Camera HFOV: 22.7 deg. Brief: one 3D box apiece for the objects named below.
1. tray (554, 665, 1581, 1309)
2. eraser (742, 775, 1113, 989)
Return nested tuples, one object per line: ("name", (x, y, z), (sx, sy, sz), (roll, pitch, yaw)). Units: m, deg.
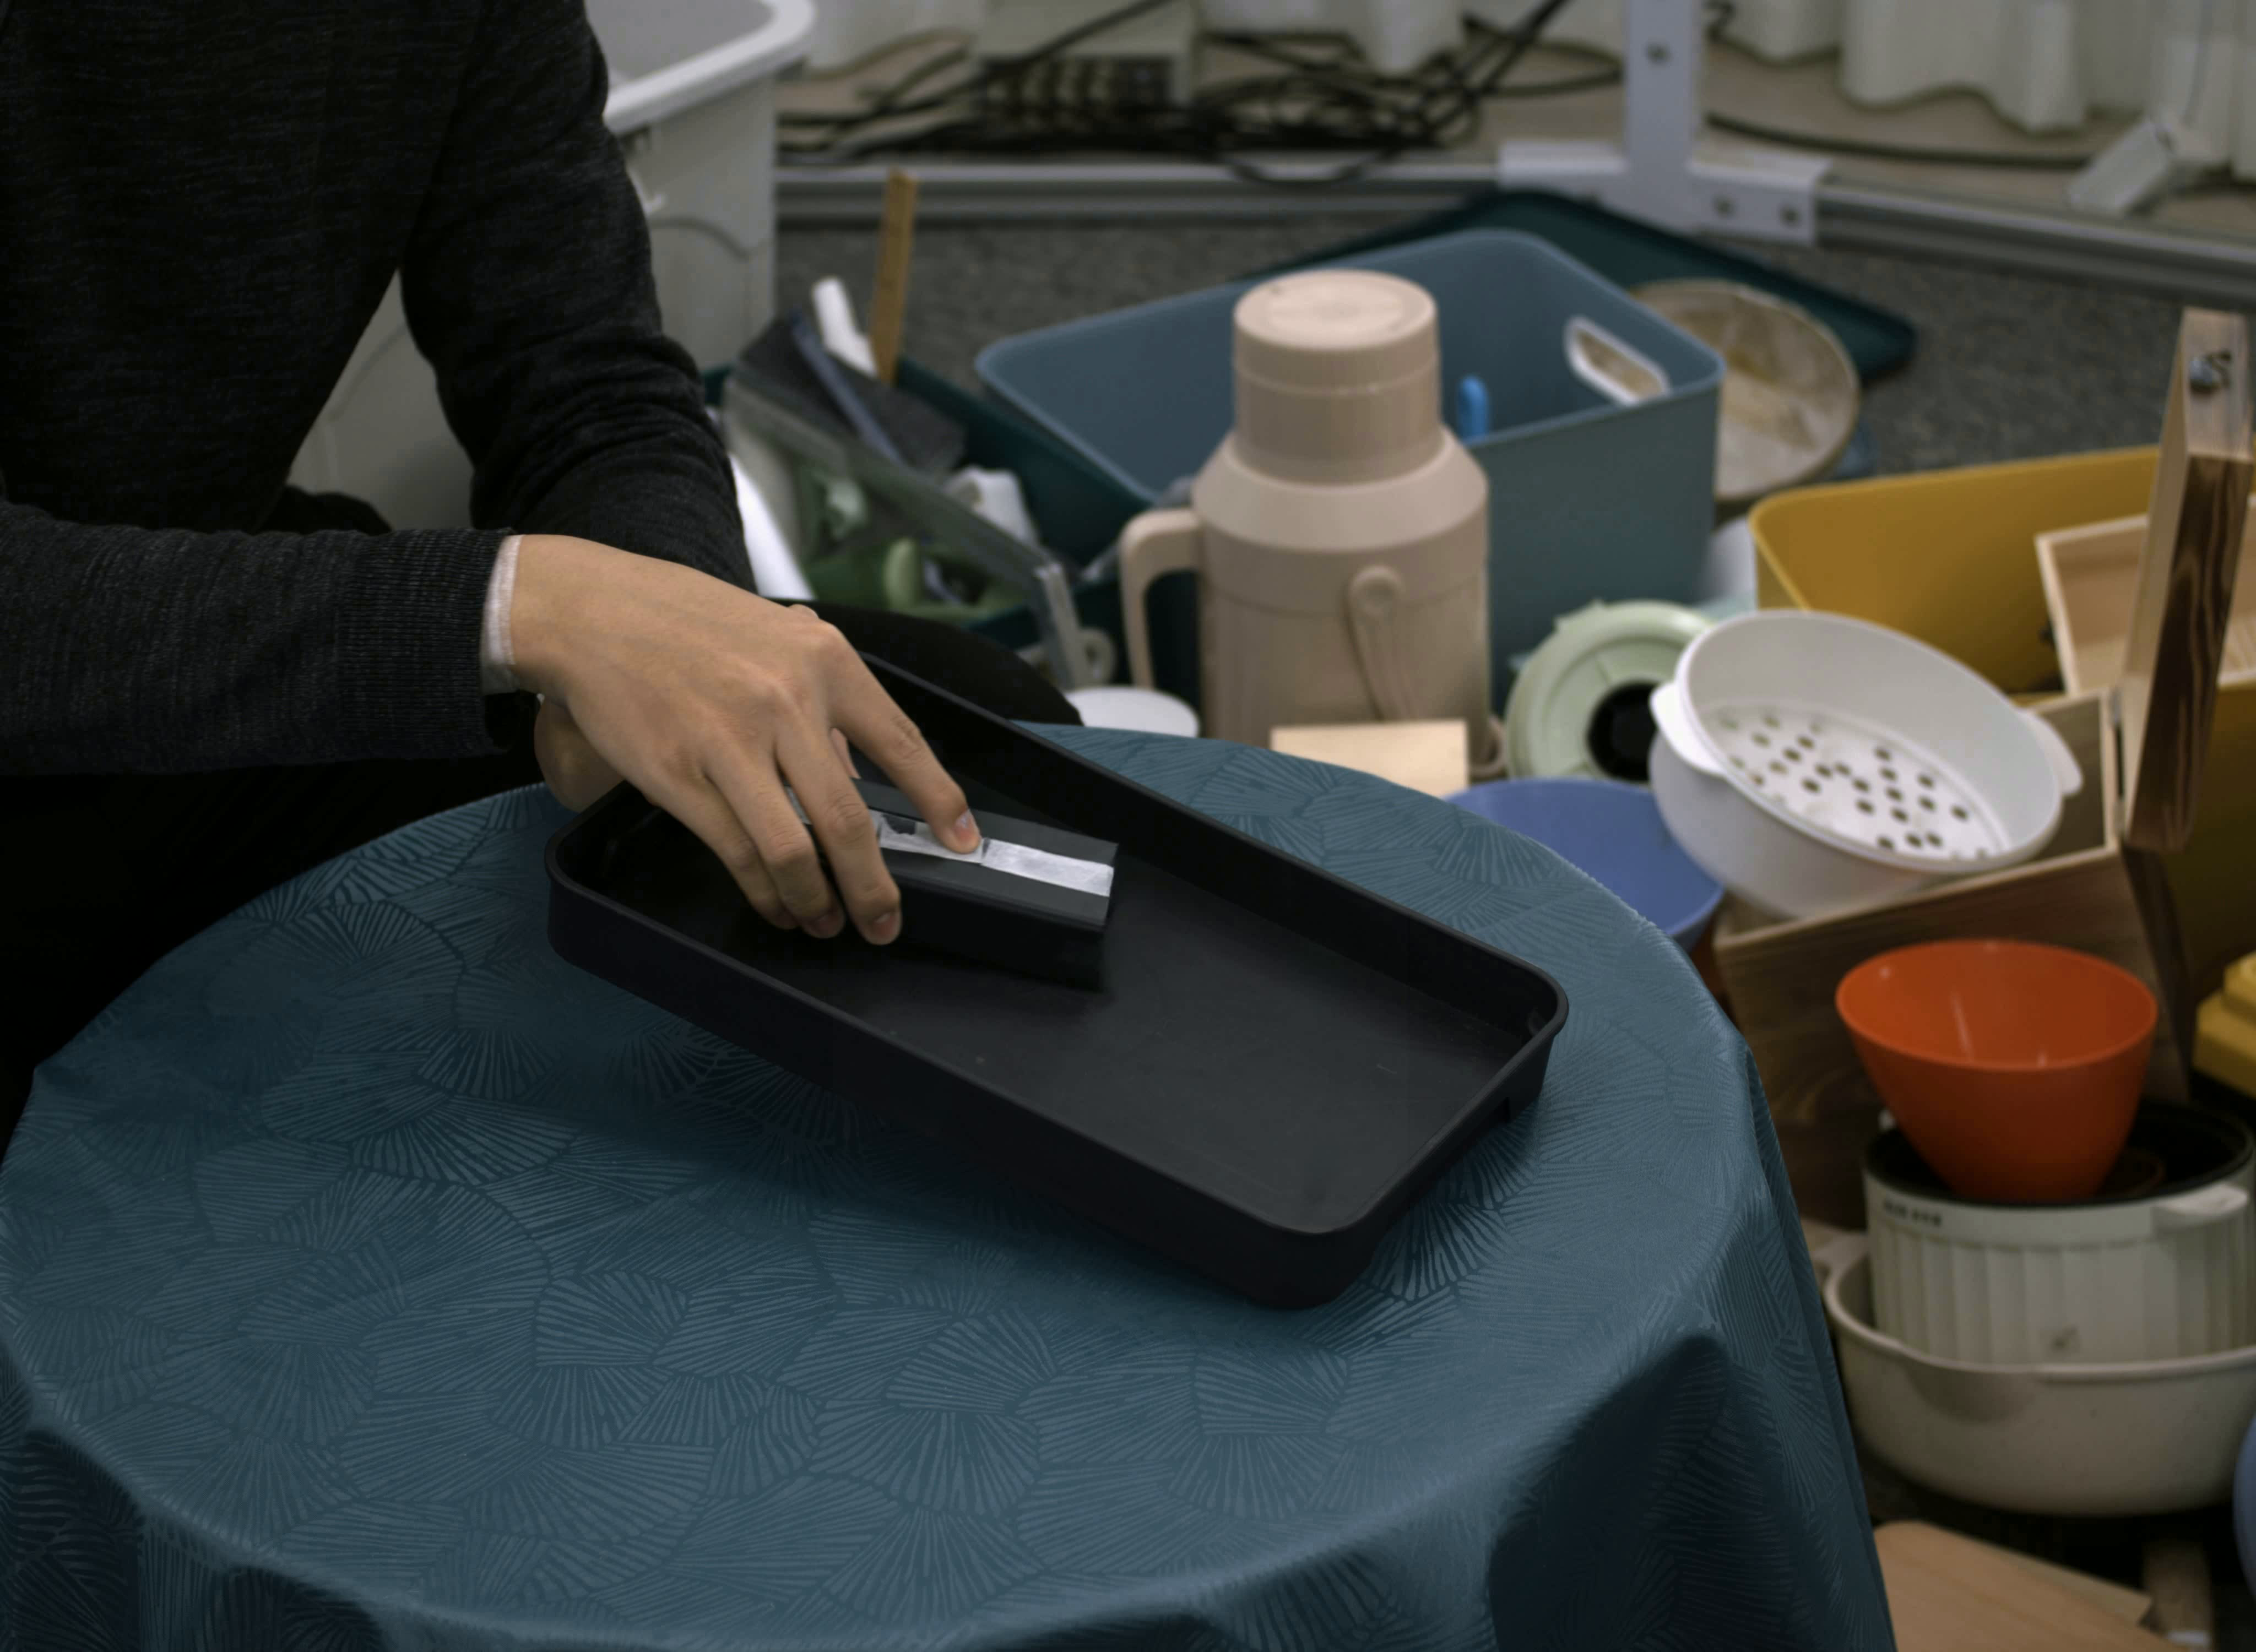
("tray", (-0.022, 0.049, 1.898), (0.317, 0.036, 0.187), (23, 36, 21))
("eraser", (-0.068, 0.019, 1.918), (0.125, 0.030, 0.054), (13, 34, -4))
